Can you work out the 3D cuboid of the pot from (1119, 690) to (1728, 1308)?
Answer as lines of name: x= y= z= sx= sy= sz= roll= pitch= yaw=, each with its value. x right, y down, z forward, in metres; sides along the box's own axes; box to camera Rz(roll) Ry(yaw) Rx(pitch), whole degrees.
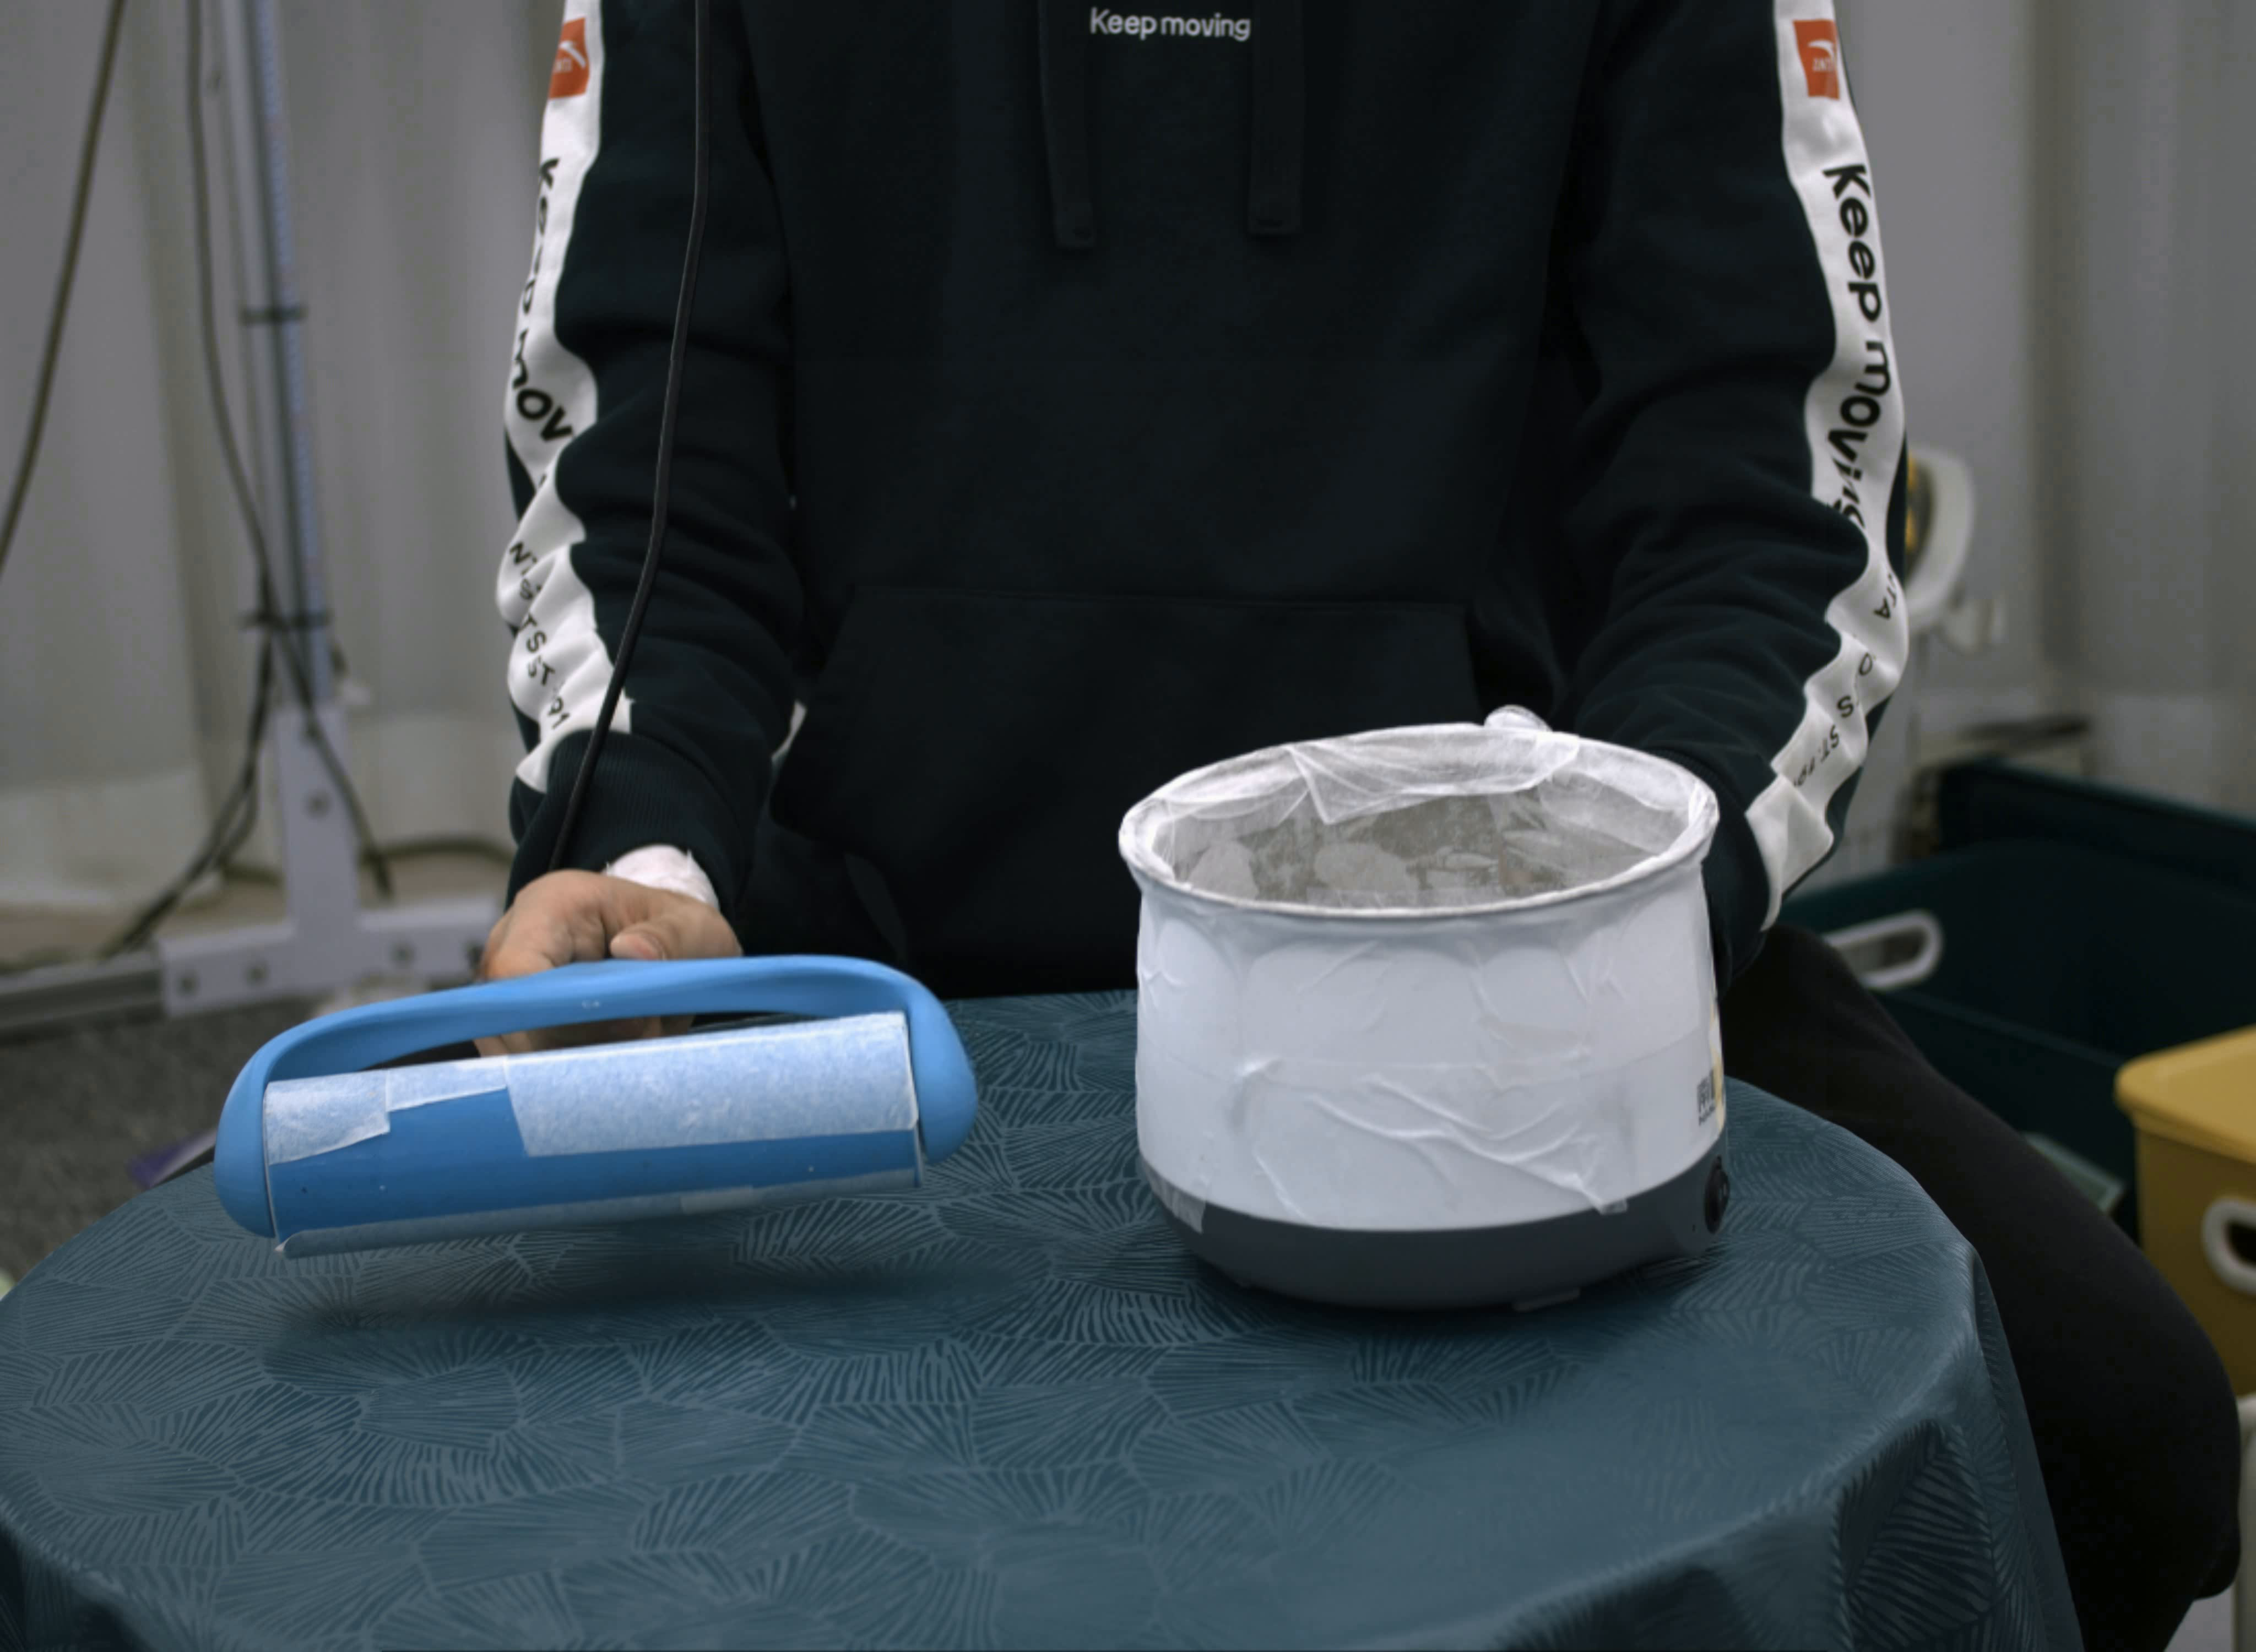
pot: x=0.098 y=0.046 z=1.652 sx=0.179 sy=0.136 sz=0.235 roll=3 pitch=20 yaw=19

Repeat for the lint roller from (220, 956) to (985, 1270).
lint roller: x=-0.164 y=0.075 z=1.687 sx=0.228 sy=0.067 sz=0.182 roll=-9 pitch=18 yaw=-5
